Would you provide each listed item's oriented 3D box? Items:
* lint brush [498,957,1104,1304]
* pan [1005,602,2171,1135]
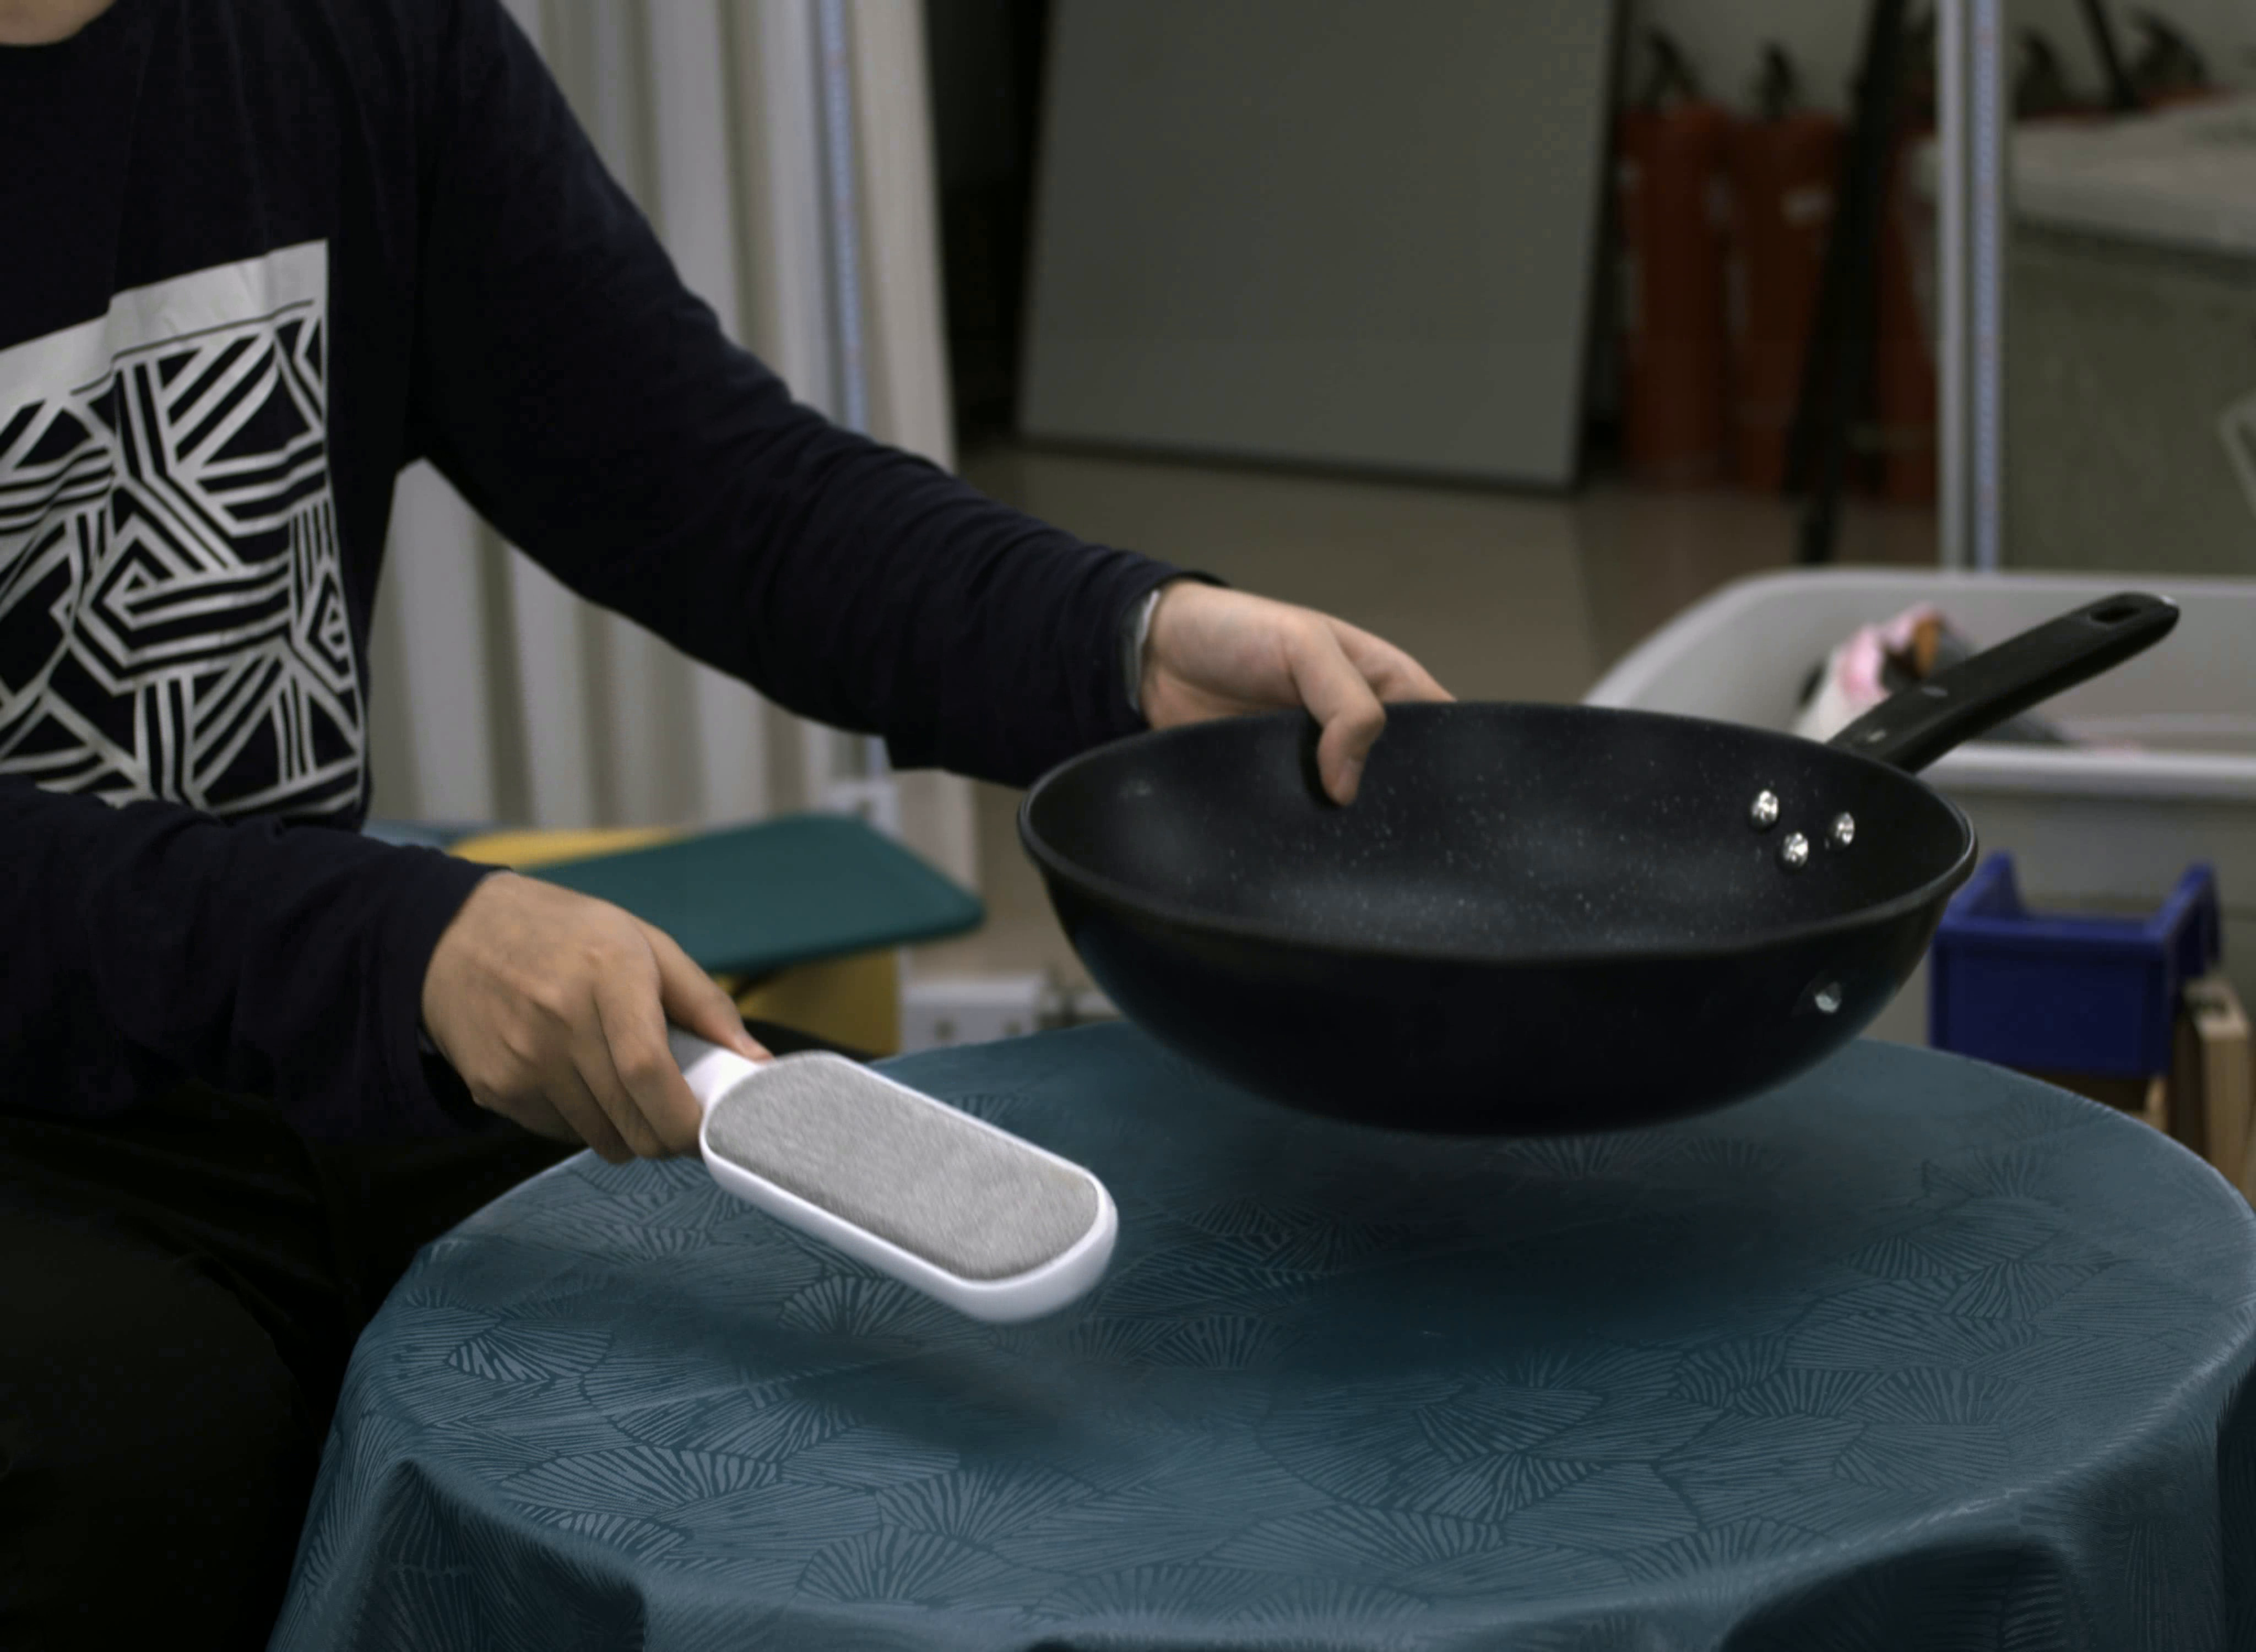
[{"bbox_3d":[-0.108,0.086,1.668,0.060,0.021,0.312,-46,35,-19],"label":"lint brush"},{"bbox_3d":[0.177,0.010,1.769,0.466,0.113,0.313,-10,19,-37],"label":"pan"}]
